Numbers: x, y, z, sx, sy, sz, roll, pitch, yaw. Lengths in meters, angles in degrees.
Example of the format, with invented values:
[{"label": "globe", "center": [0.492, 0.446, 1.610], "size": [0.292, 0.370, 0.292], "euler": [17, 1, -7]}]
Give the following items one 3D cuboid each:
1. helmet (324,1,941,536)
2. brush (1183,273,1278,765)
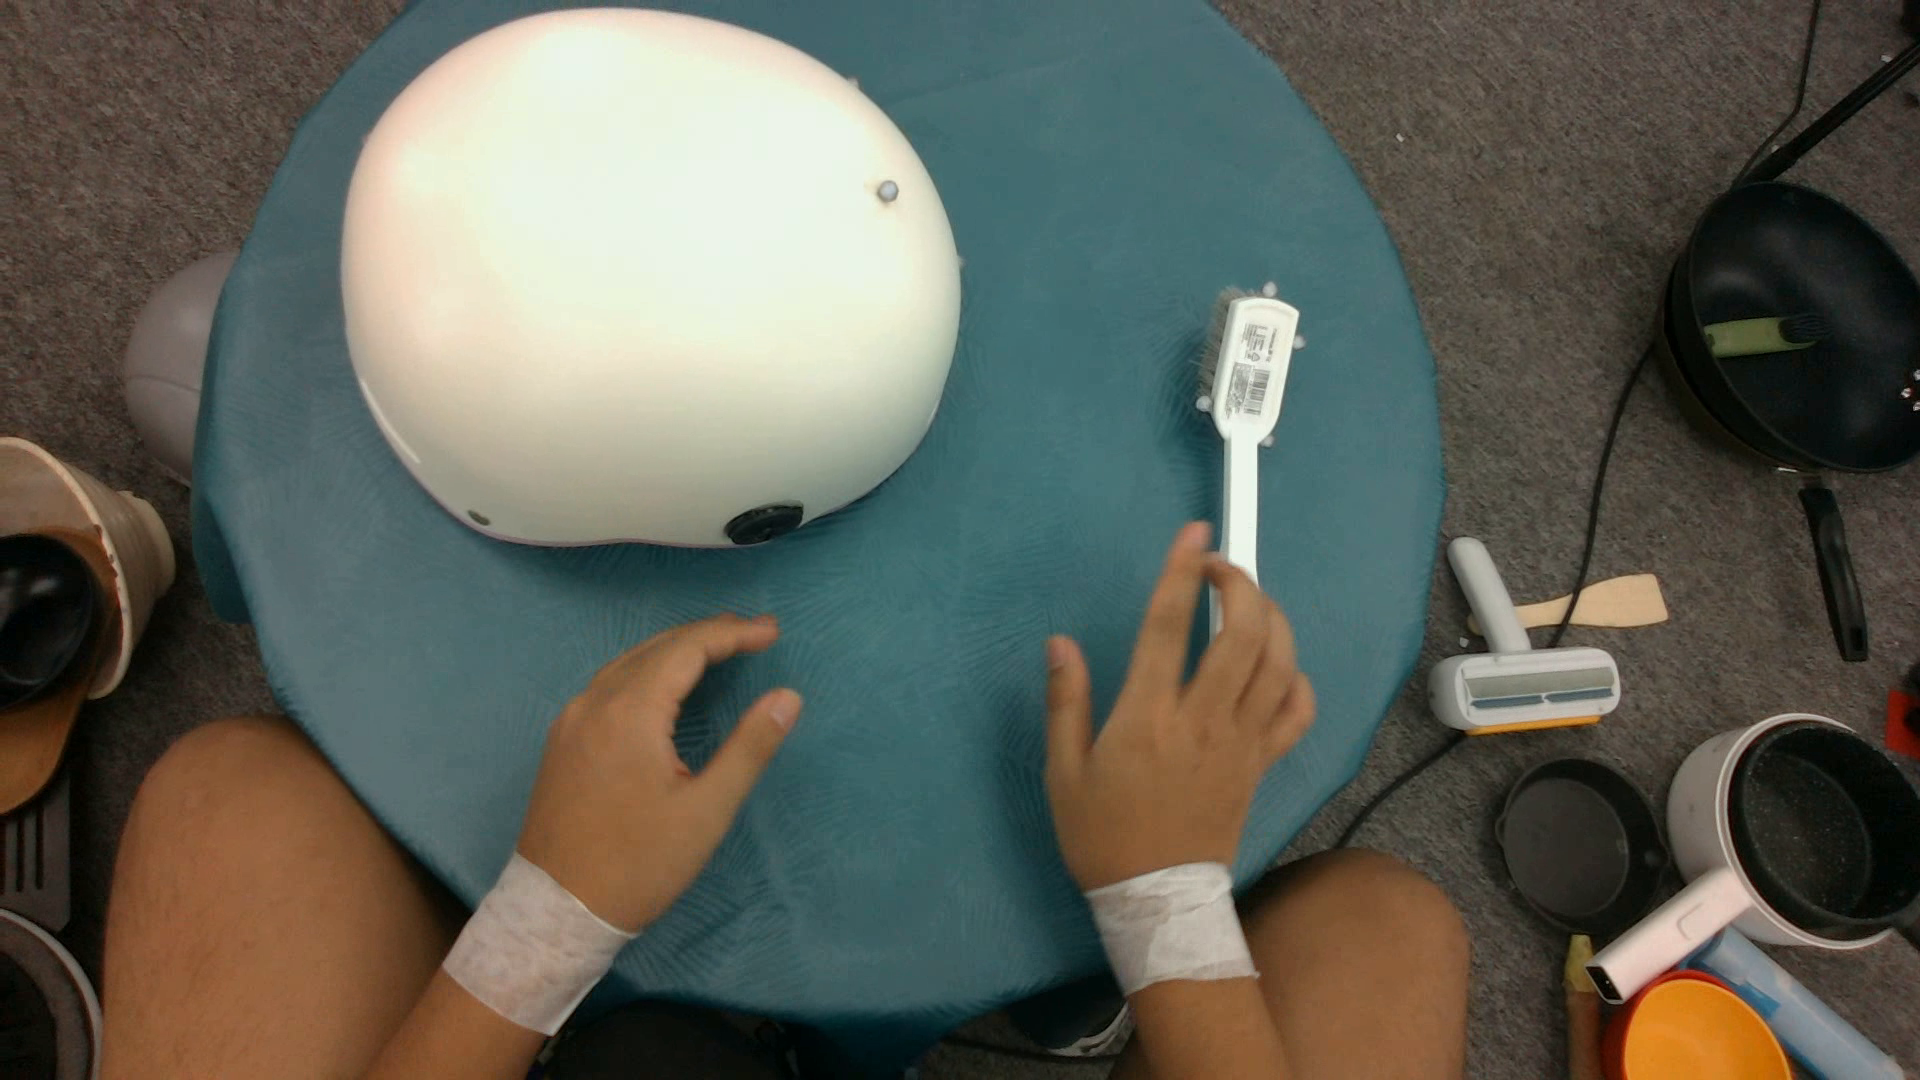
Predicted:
[{"label": "helmet", "center": [-0.132, -0.127, 0.587], "size": [0.269, 0.166, 0.237], "euler": [-7, 75, -14]}, {"label": "brush", "center": [0.127, -0.014, 0.679], "size": [0.034, 0.050, 0.244], "euler": [5, 86, -10]}]
